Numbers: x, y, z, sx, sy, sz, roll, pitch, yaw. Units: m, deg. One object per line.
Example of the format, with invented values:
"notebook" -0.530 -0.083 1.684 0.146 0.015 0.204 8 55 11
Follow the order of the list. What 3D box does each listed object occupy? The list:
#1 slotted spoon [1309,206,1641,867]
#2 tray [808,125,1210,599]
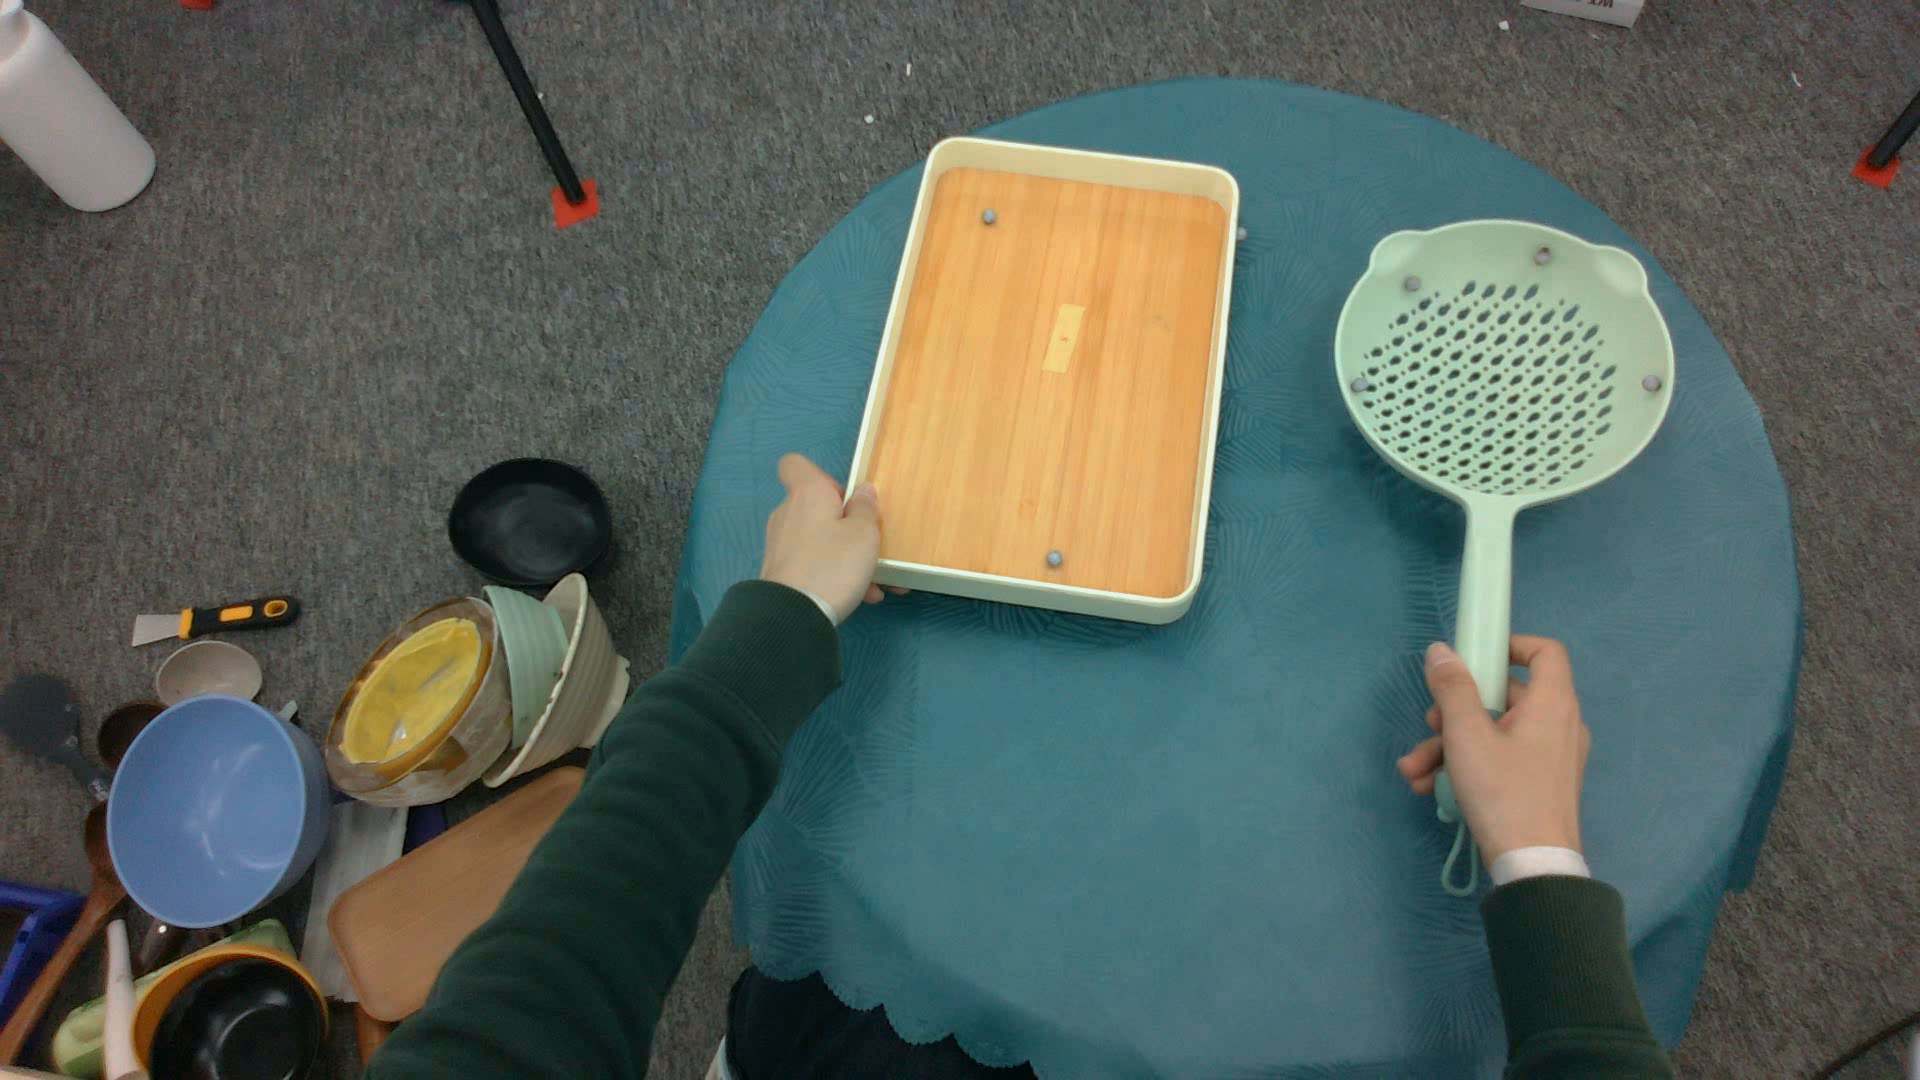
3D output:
"slotted spoon" 0.255 -0.016 0.705 0.169 0.075 0.360 7 59 13
"tray" 0.036 -0.112 0.779 0.191 0.027 0.301 8 60 6
